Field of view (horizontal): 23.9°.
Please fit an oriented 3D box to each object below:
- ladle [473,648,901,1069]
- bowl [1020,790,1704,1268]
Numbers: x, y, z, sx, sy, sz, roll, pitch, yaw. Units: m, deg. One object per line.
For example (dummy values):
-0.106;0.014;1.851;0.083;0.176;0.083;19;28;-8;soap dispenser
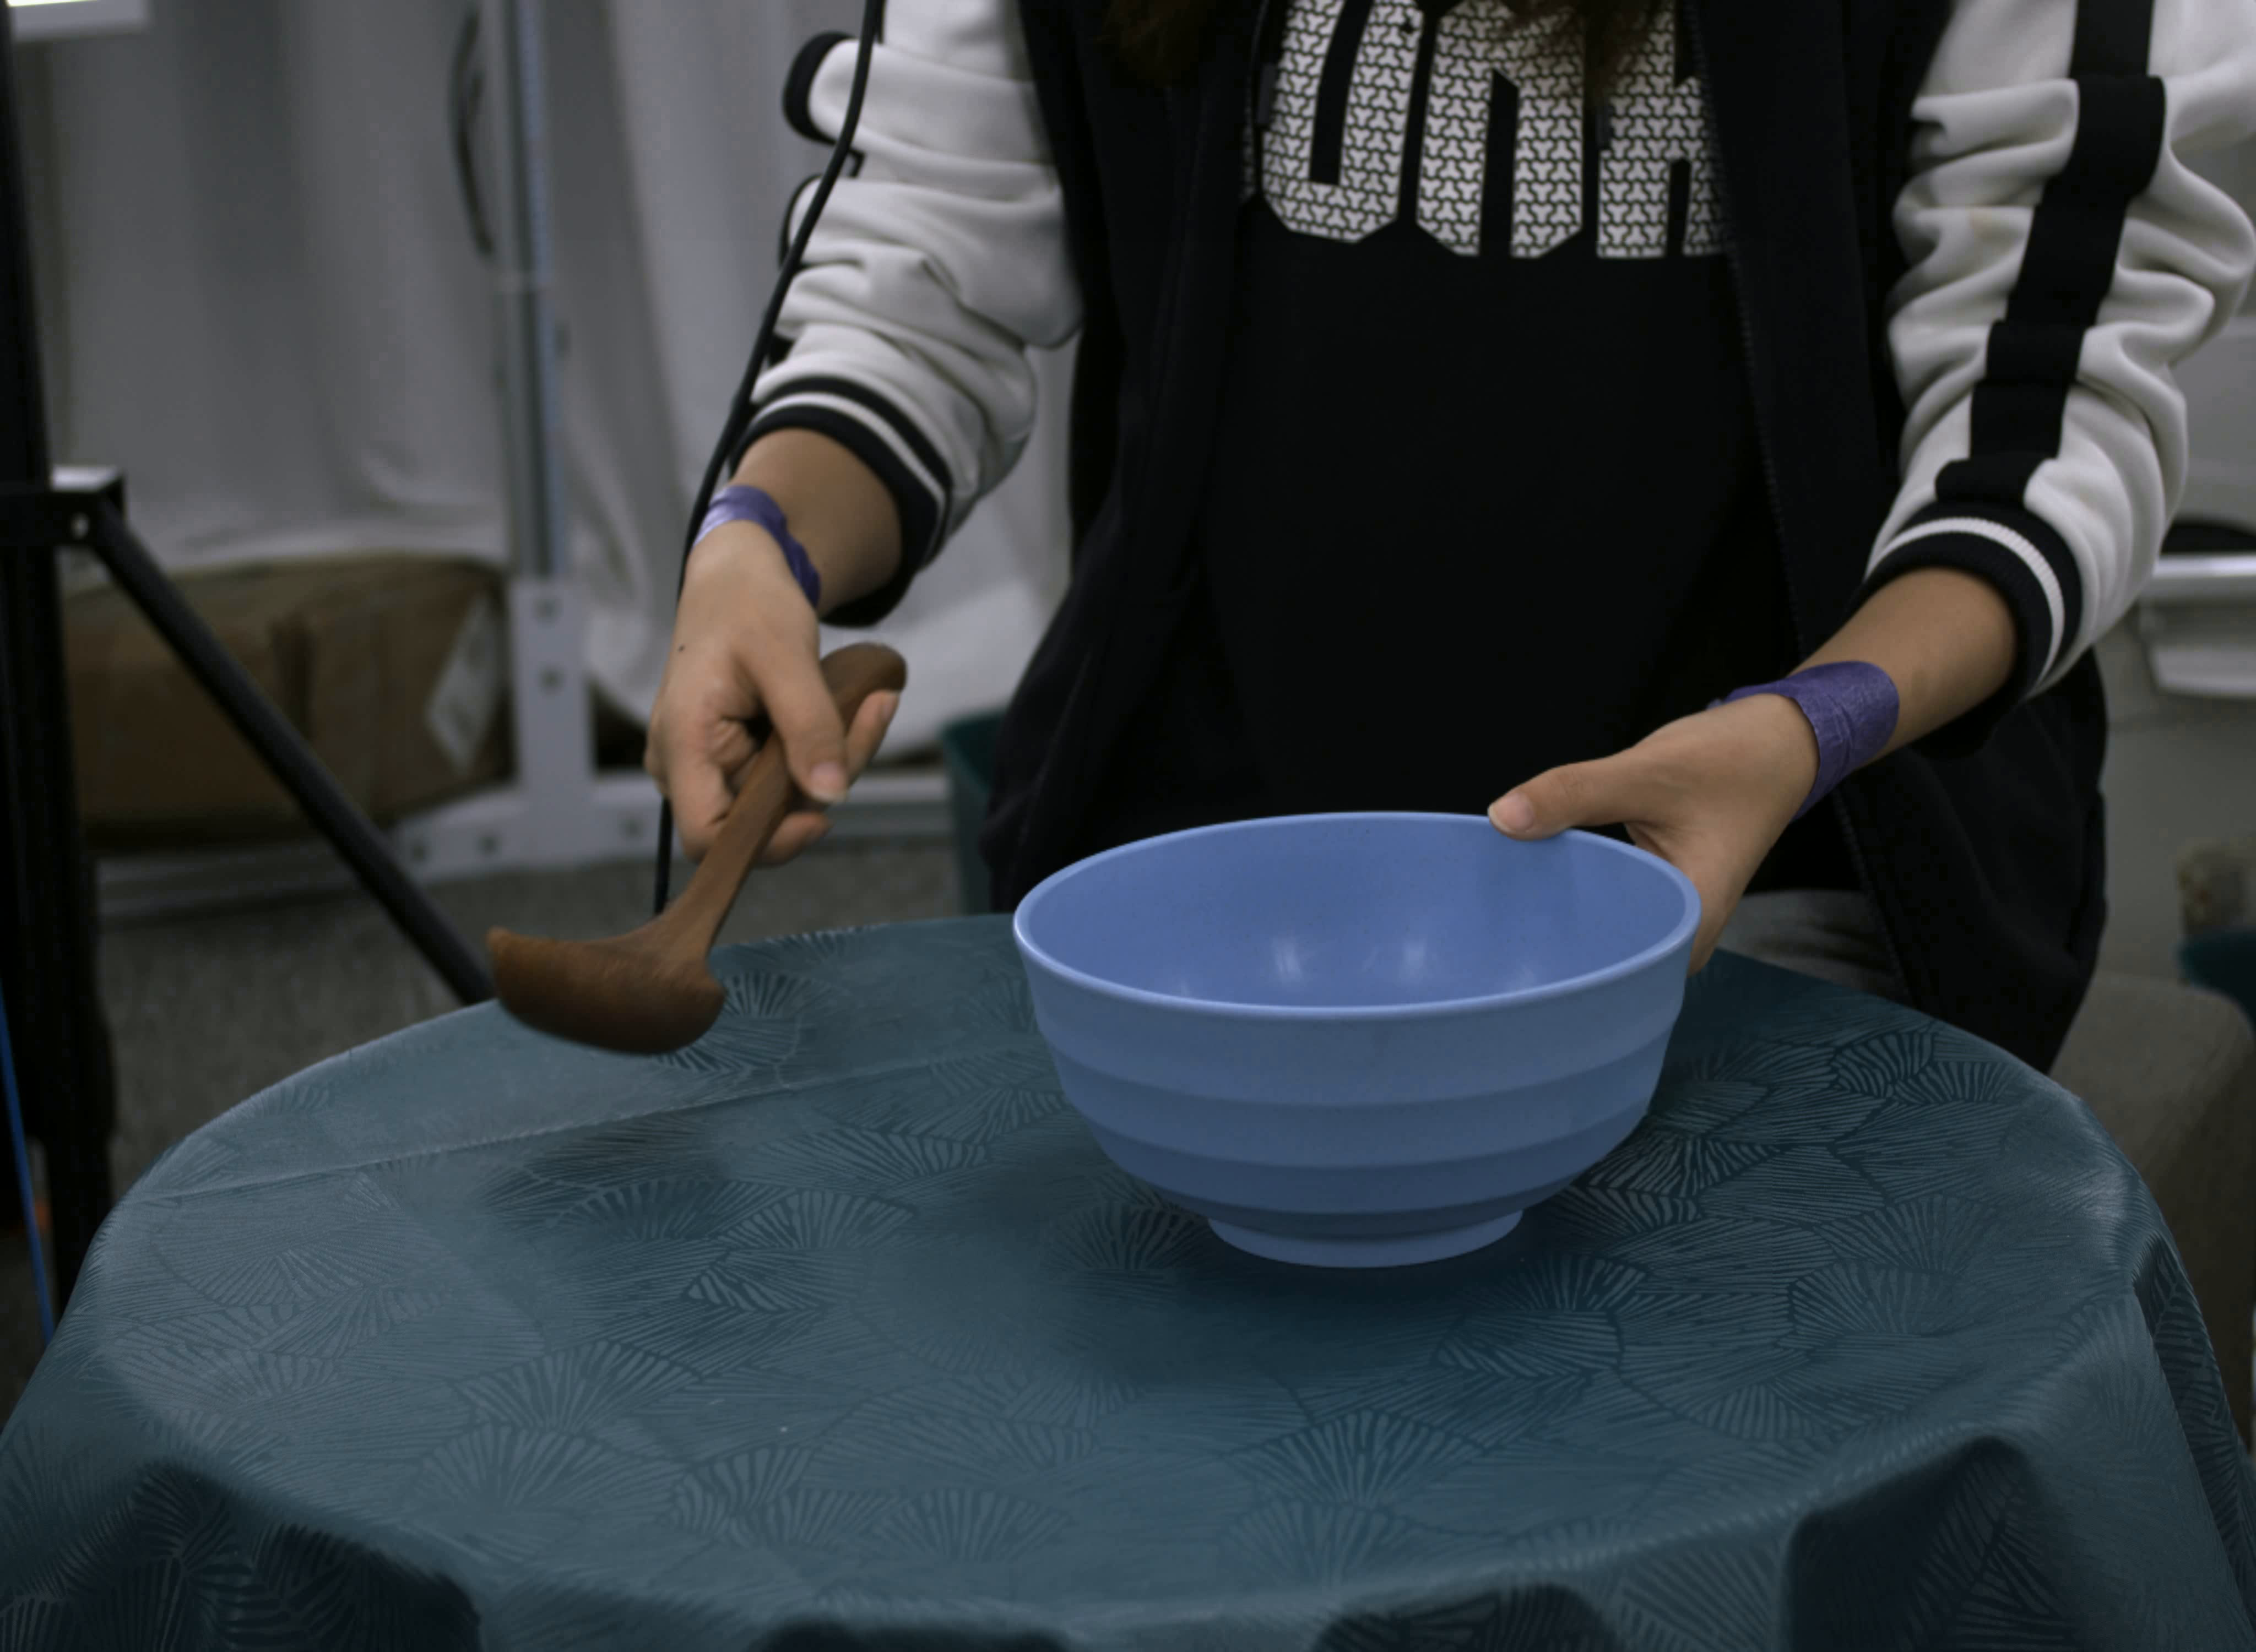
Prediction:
-0.126;-0.004;1.681;0.077;0.065;0.258;19;40;13;ladle
0.072;0.066;1.523;0.196;0.095;0.197;-8;17;1;bowl
